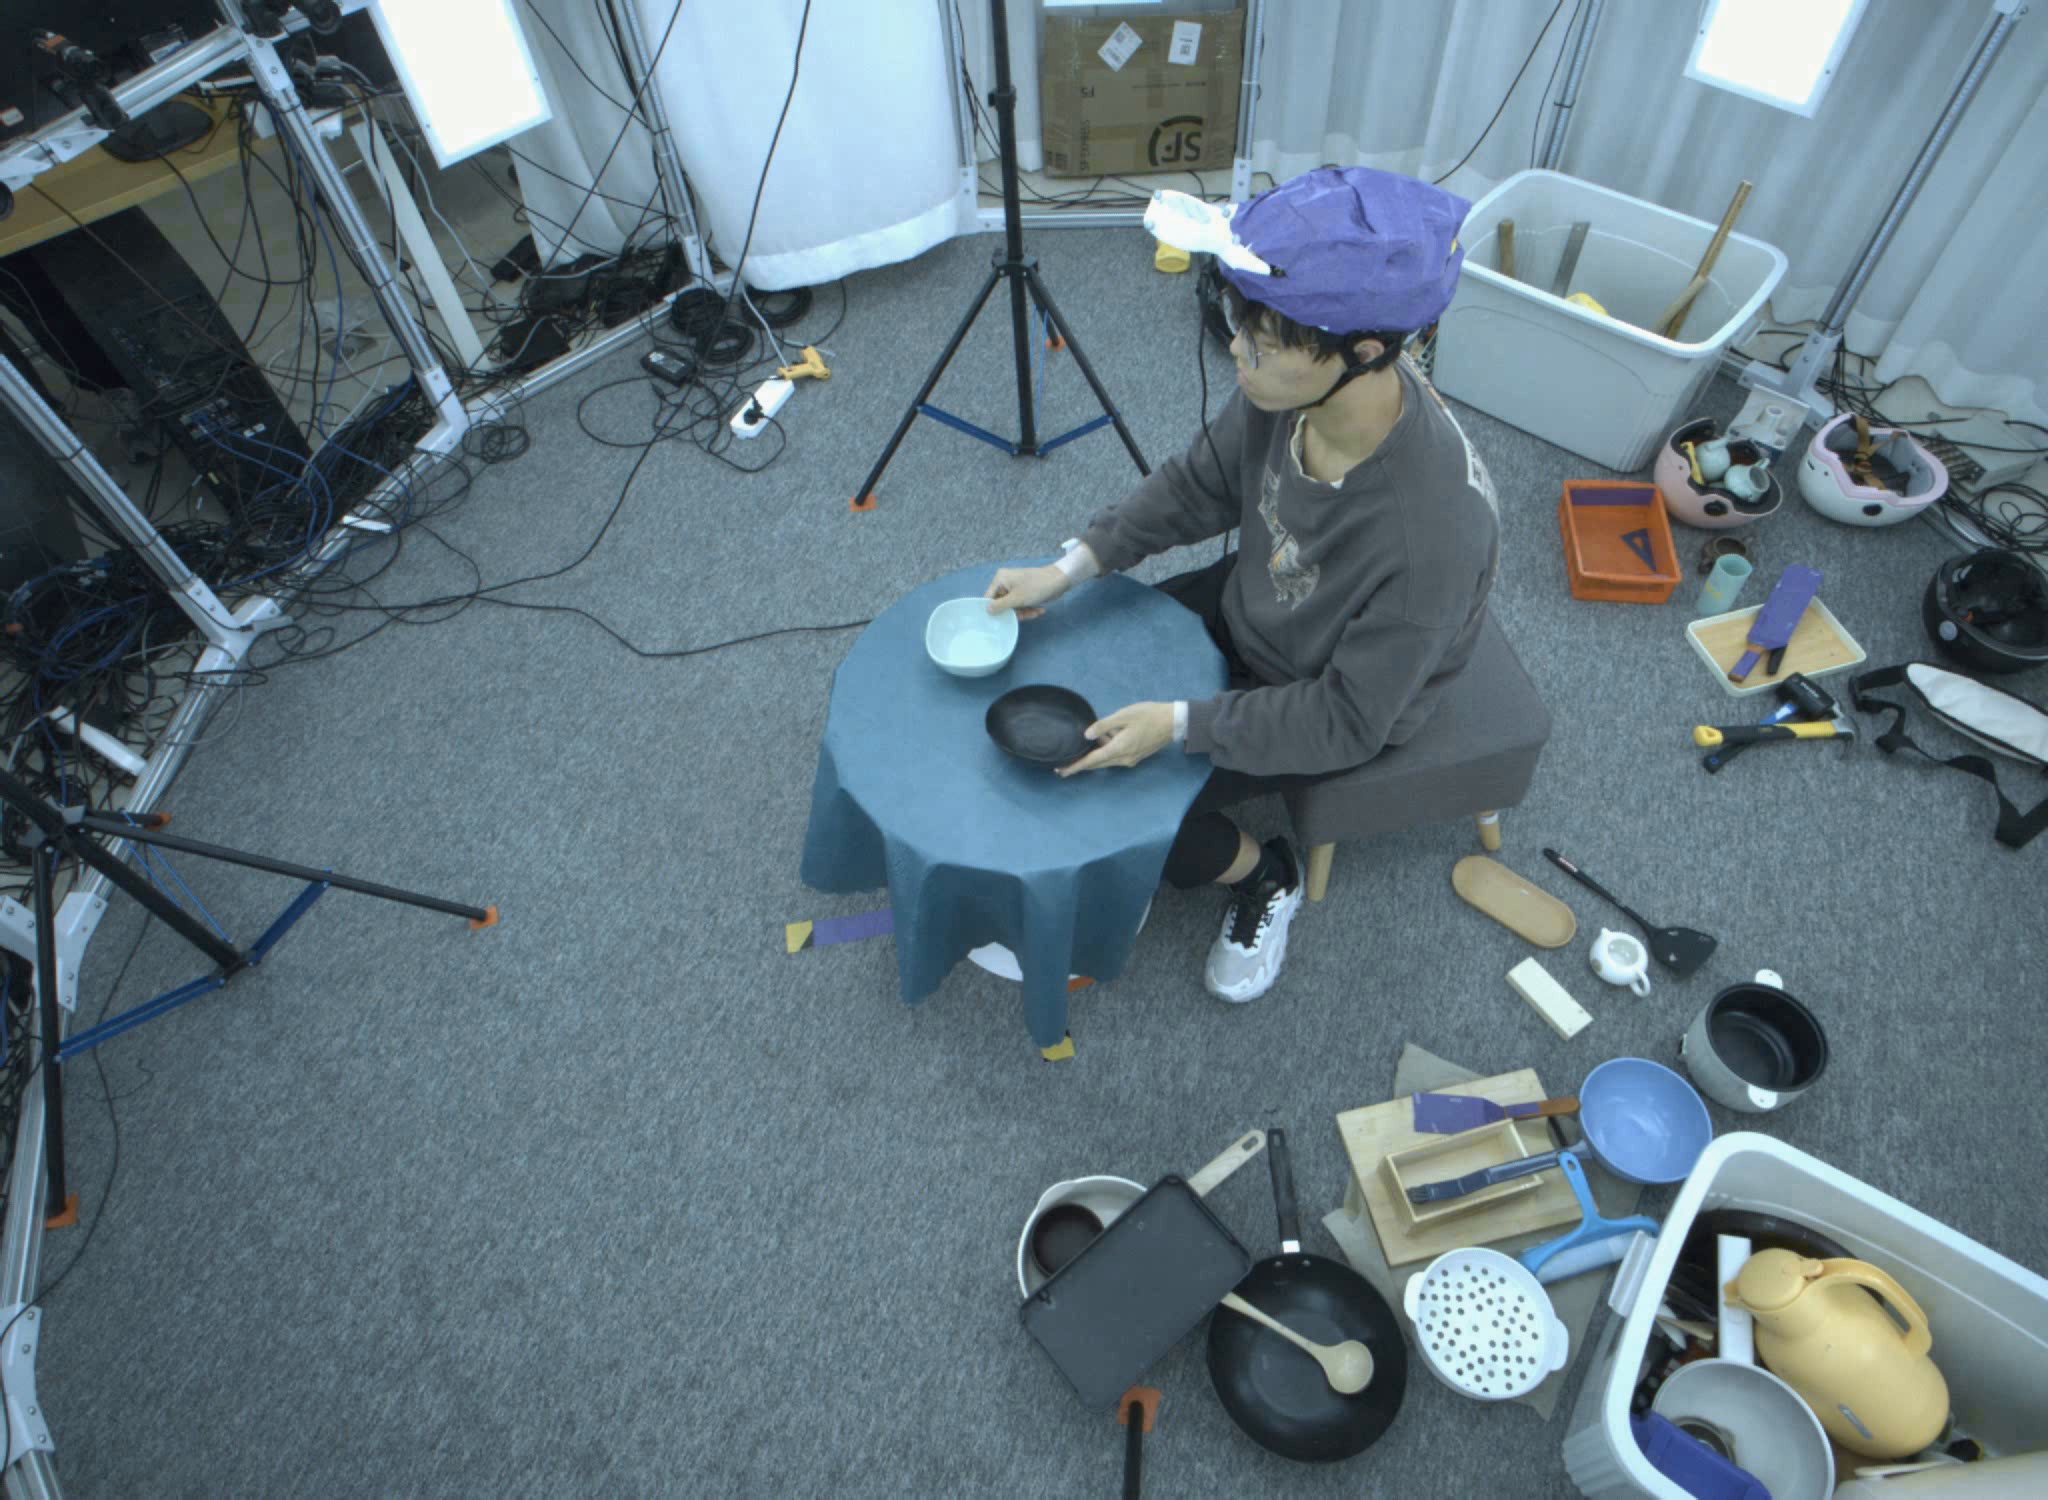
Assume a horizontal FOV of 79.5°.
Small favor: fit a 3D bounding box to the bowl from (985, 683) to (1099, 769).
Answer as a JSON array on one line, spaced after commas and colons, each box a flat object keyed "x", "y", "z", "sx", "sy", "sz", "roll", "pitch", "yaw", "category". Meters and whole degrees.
[{"x": 0.025, "y": -0.024, "z": 1.762, "sx": 0.168, "sy": 0.067, "sz": 0.137, "roll": 17, "pitch": 57, "yaw": 16, "category": "bowl"}]

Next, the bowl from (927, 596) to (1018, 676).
[{"x": -0.076, "y": -0.164, "z": 1.869, "sx": 0.151, "sy": 0.059, "sz": 0.150, "roll": -1, "pitch": 56, "yaw": 2, "category": "bowl"}]
